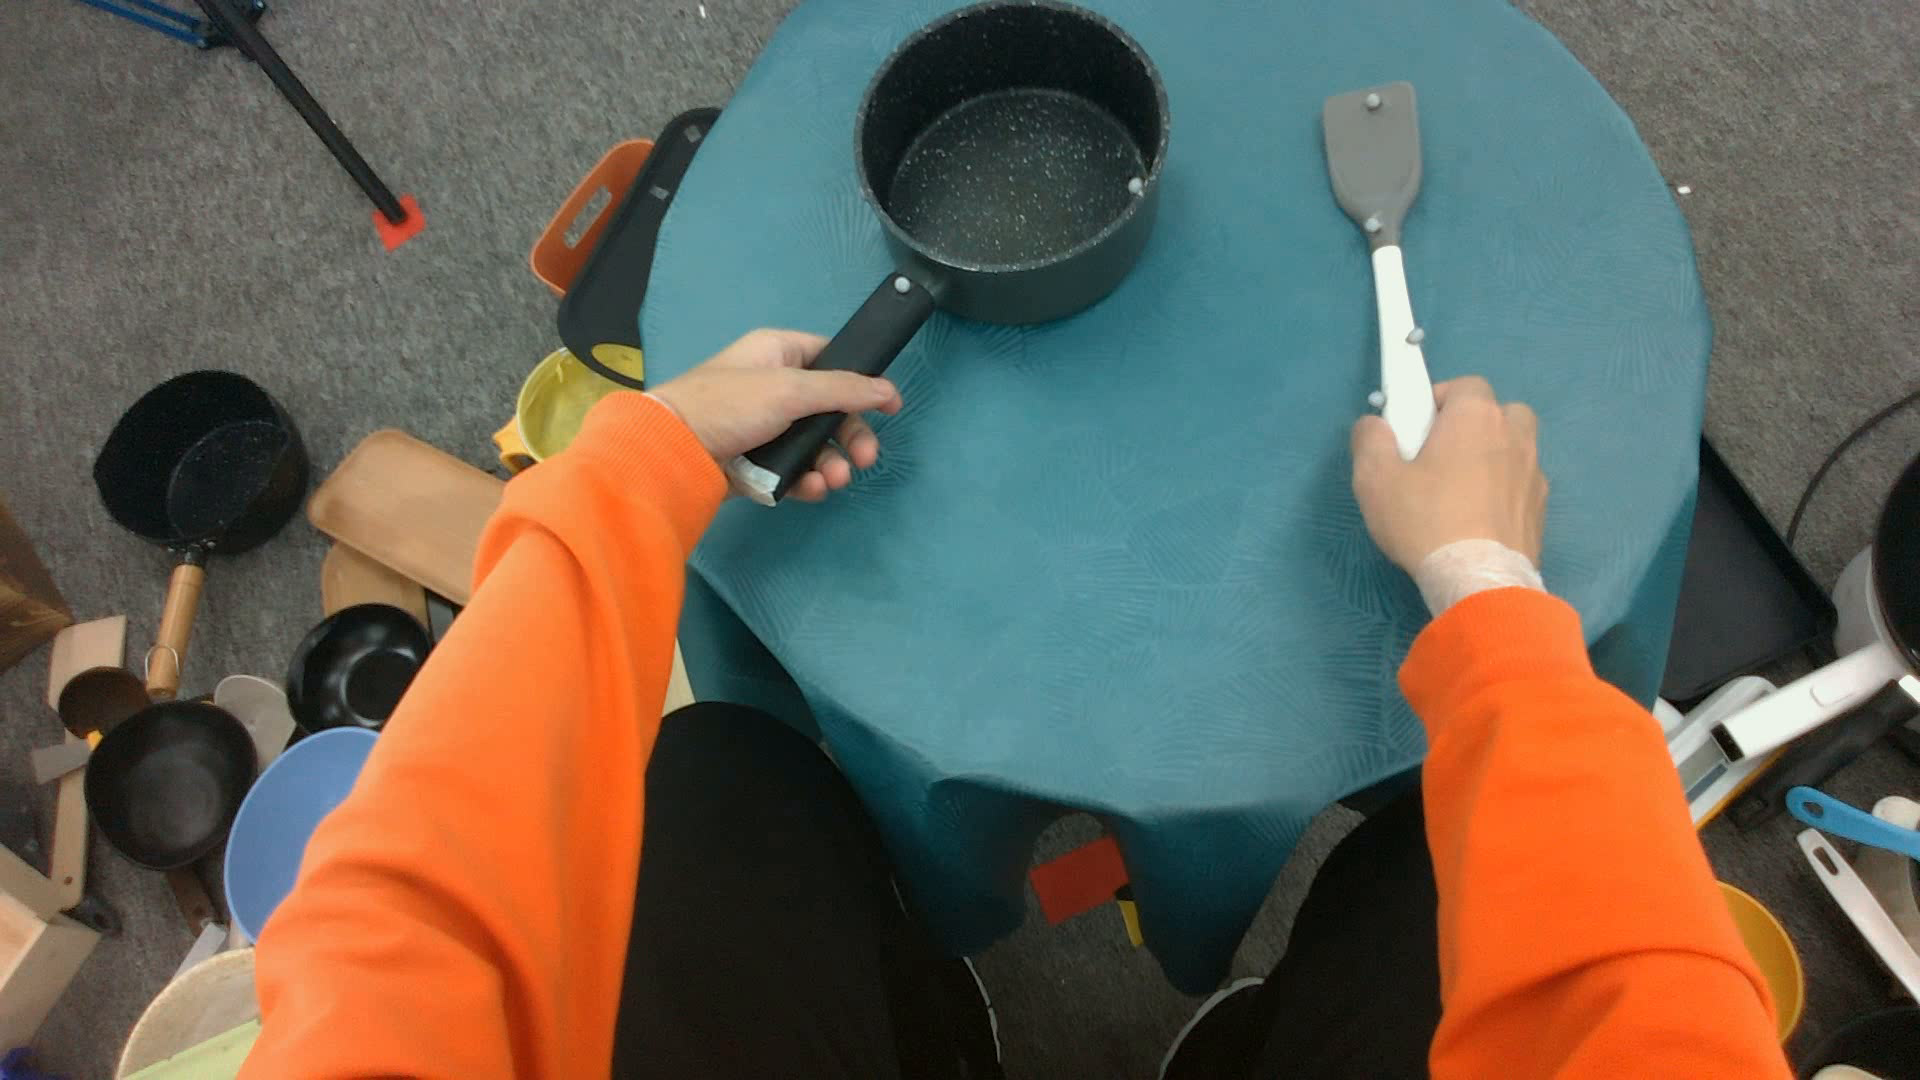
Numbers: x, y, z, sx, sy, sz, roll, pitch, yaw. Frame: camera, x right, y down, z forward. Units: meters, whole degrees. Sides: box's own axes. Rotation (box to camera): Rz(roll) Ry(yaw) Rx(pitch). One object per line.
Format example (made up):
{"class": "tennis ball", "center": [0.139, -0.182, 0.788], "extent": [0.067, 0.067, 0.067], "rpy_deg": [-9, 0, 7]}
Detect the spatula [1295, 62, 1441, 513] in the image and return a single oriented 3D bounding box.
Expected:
{"class": "spatula", "center": [0.225, -0.147, 0.755], "extent": [0.058, 0.032, 0.288], "rpy_deg": [-11, 60, 21]}

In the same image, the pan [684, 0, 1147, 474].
{"class": "pan", "center": [-0.027, -0.157, 0.755], "extent": [0.172, 0.086, 0.329], "rpy_deg": [33, 76, 16]}
